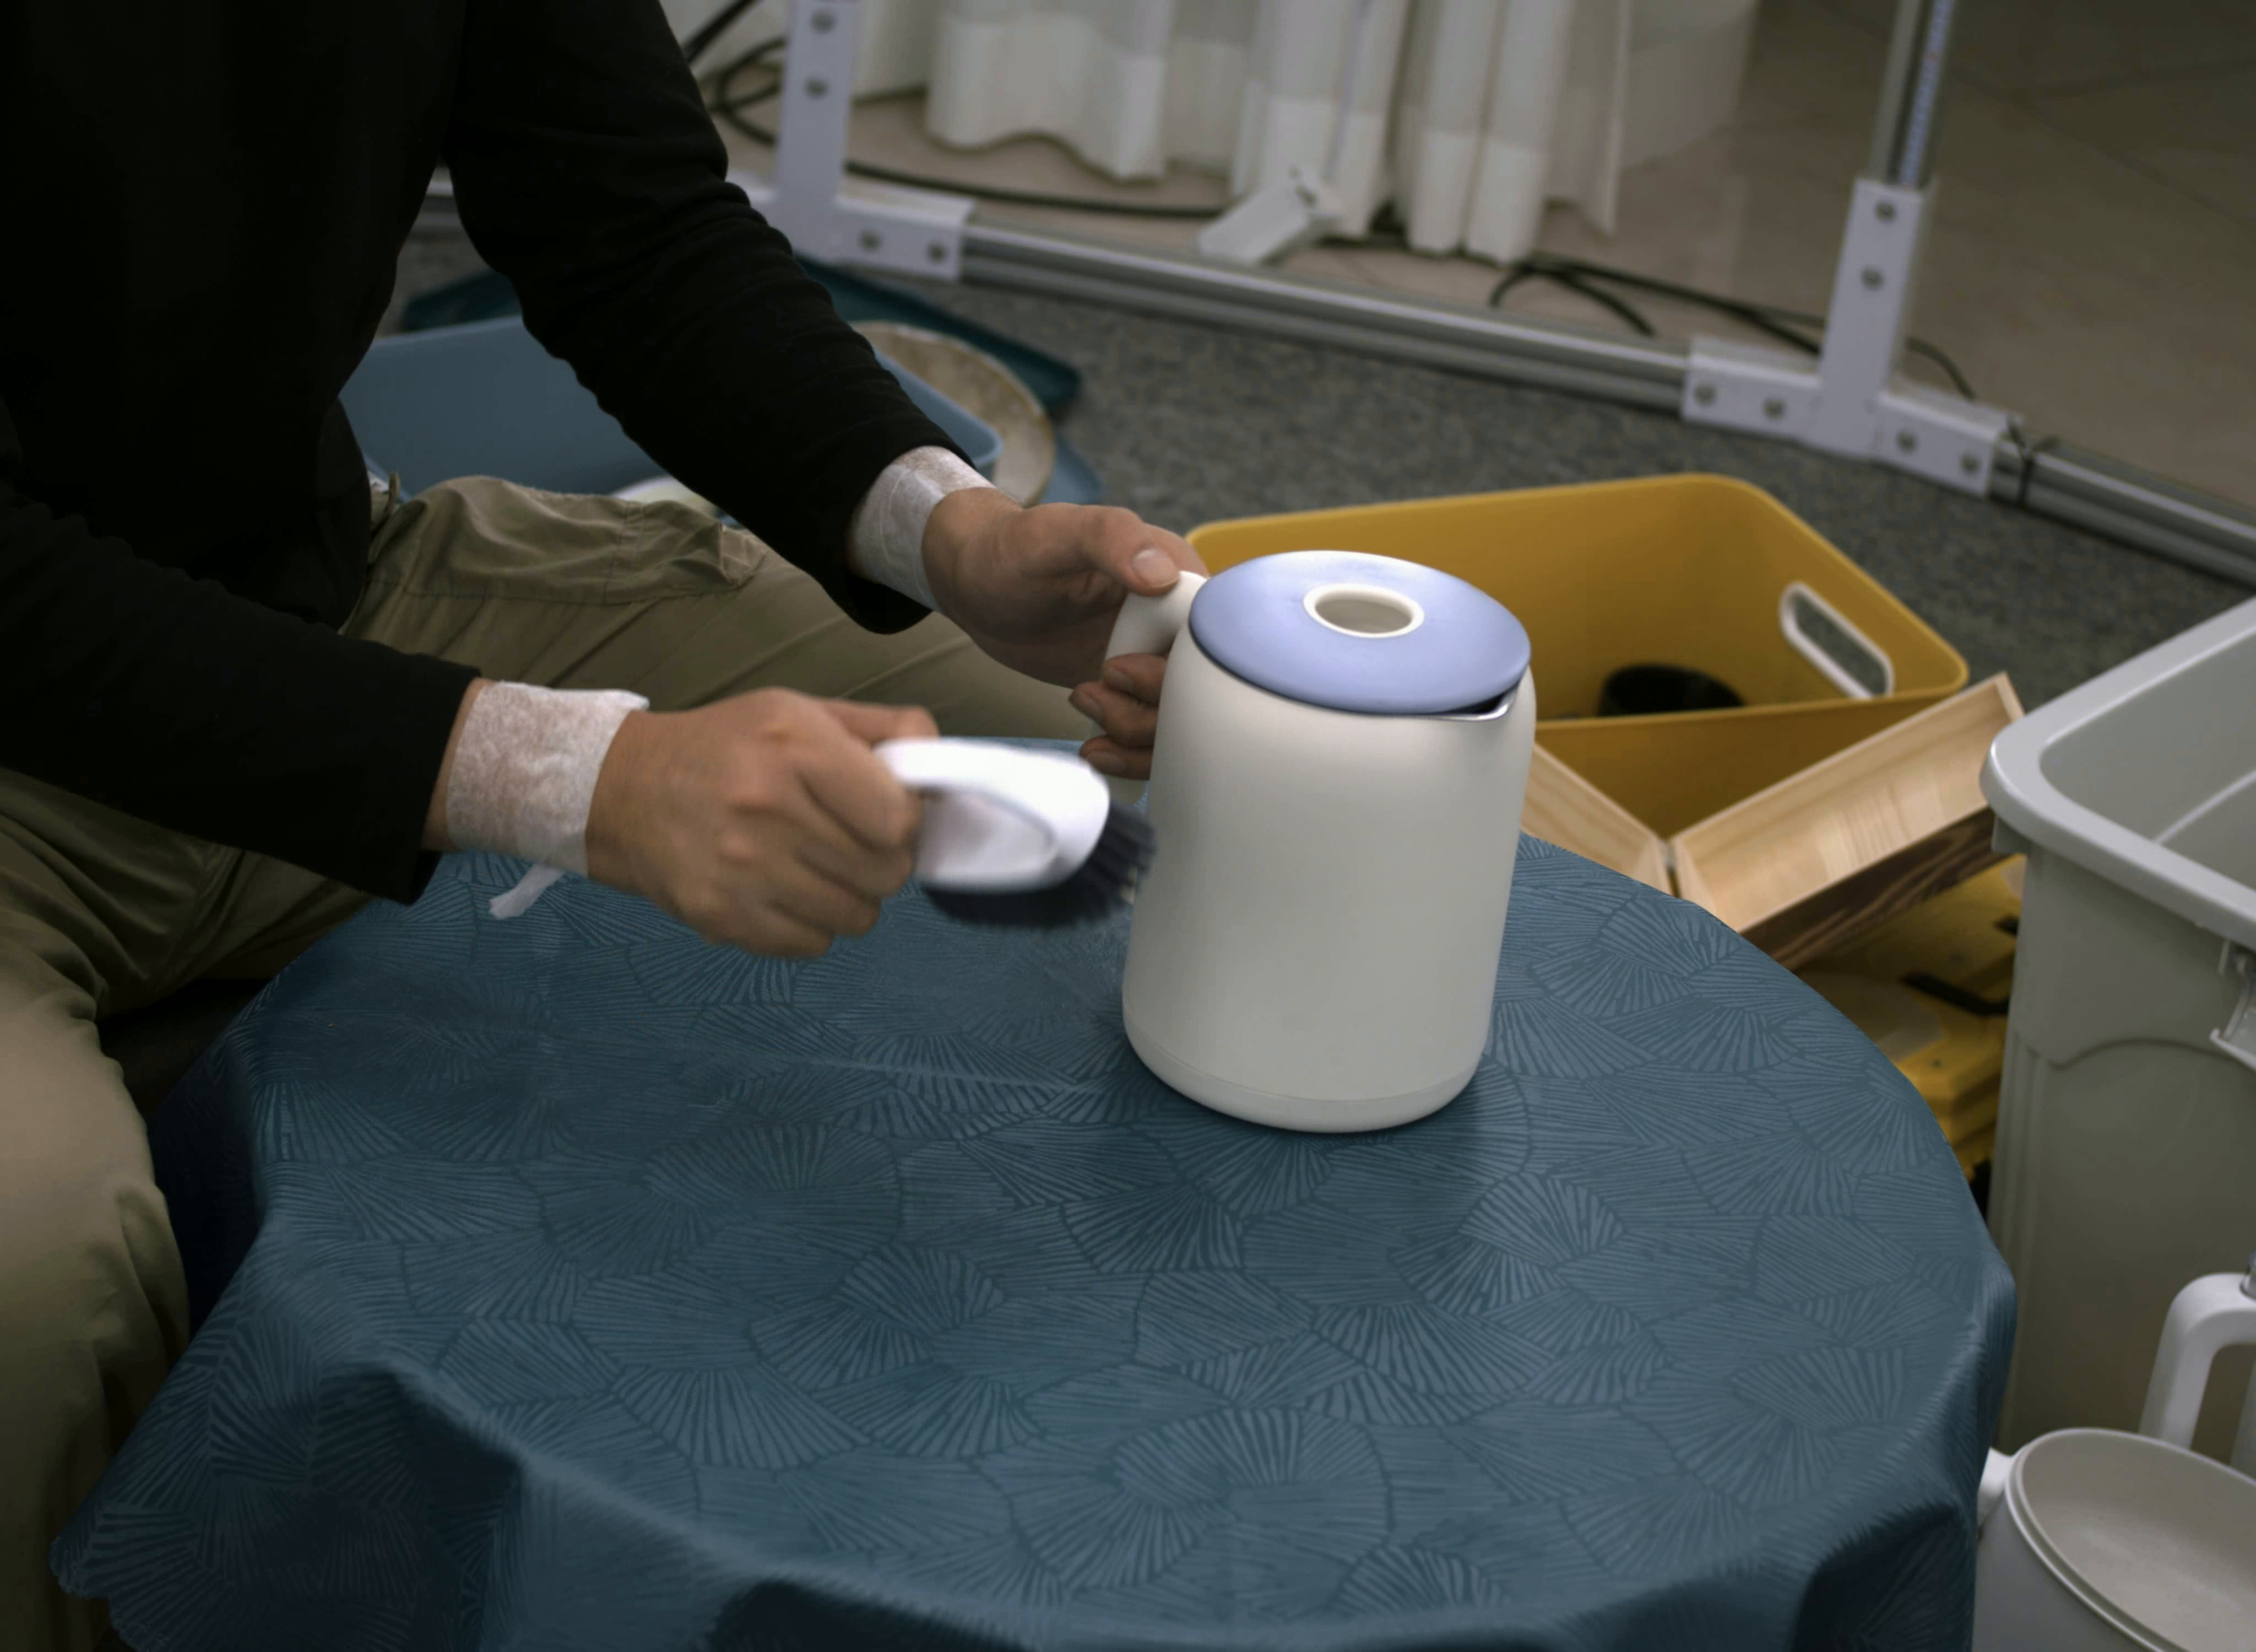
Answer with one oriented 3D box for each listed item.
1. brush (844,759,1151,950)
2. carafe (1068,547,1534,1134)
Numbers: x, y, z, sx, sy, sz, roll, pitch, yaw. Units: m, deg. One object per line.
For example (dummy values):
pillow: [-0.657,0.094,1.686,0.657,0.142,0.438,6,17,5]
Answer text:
brush: [-0.050,0.002,1.745,0.100,0.050,0.072,6,-24,46]
carafe: [0.053,-0.005,1.877,0.192,0.182,0.131,27,33,38]
